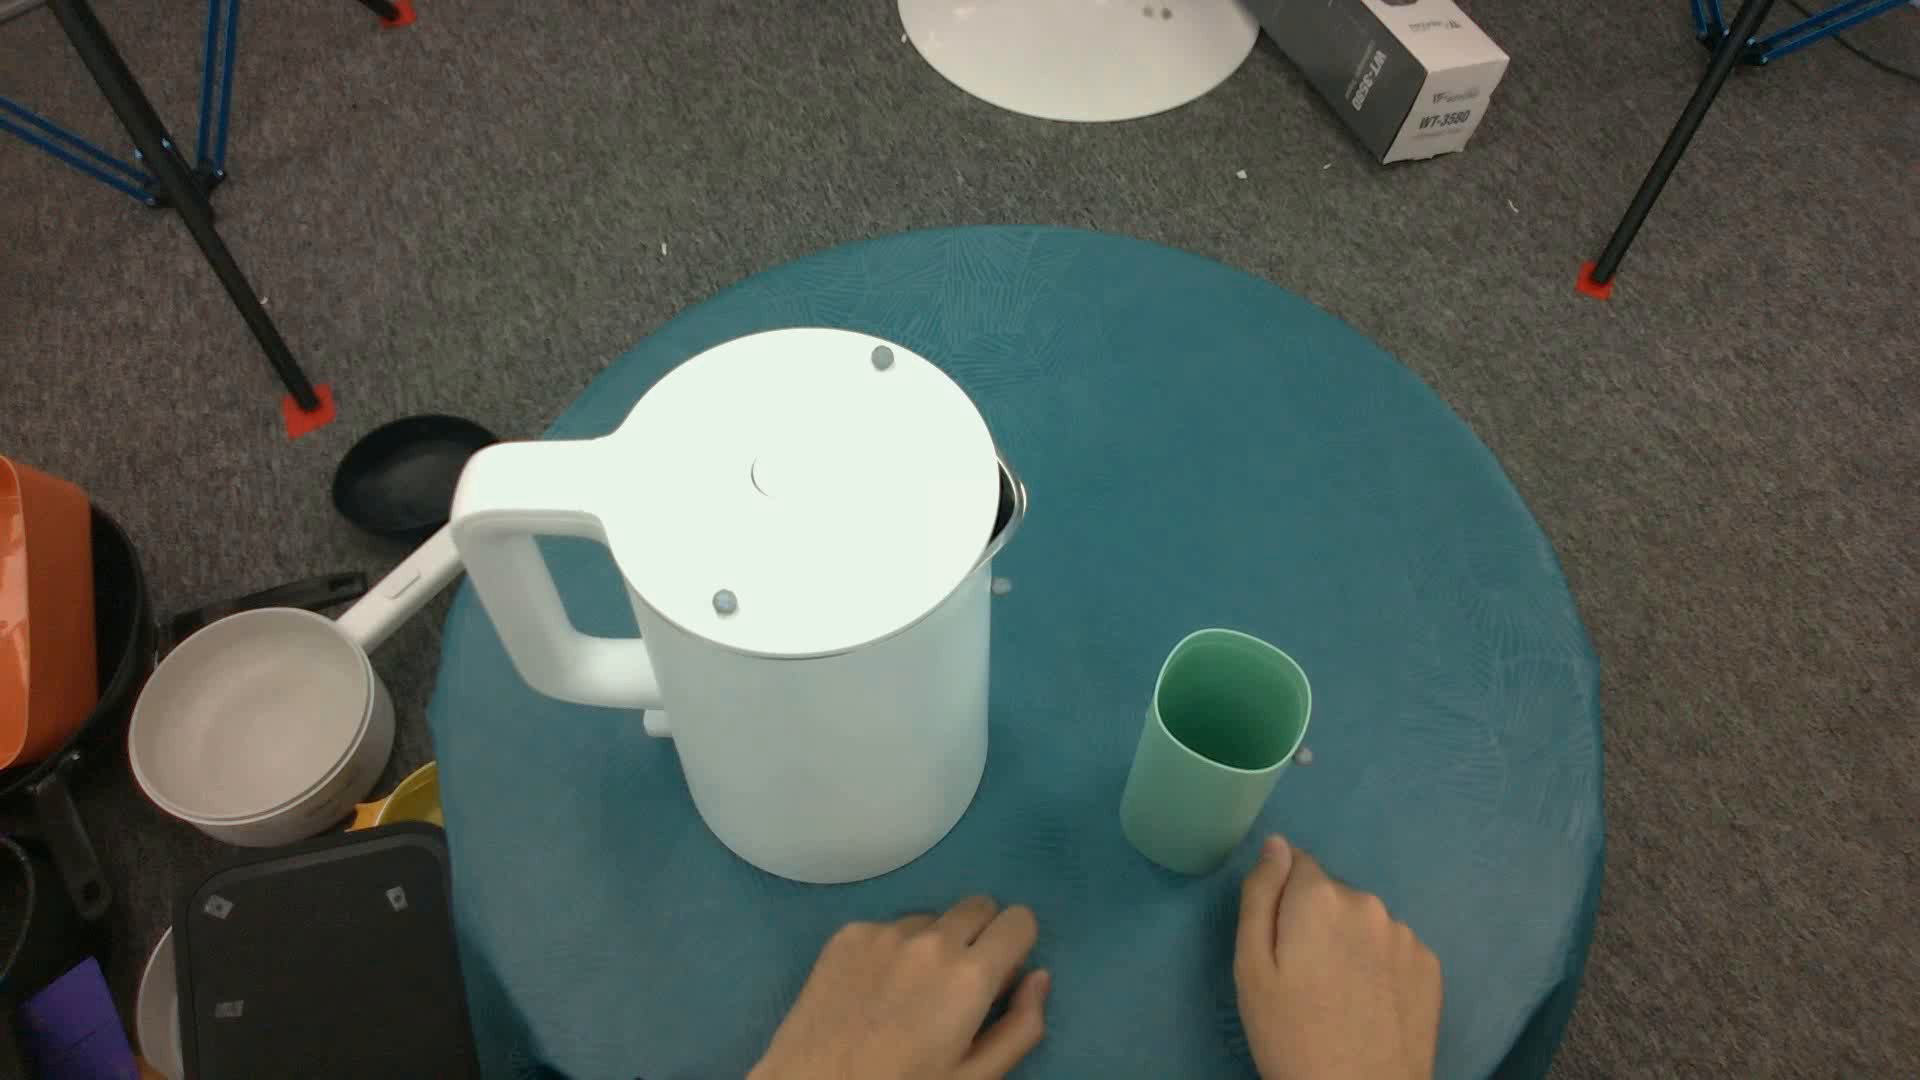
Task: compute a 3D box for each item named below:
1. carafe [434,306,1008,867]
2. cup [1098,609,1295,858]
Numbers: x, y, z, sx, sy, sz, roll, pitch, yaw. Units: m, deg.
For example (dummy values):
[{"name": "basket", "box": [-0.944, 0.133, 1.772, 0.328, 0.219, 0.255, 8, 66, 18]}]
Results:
[{"name": "carafe", "box": [-0.093, 0.027, 0.592, 0.213, 0.239, 0.153, 3, 57, -2]}, {"name": "cup", "box": [0.103, 0.092, 0.623, 0.067, 0.131, 0.067, 2, 58, -3]}]
